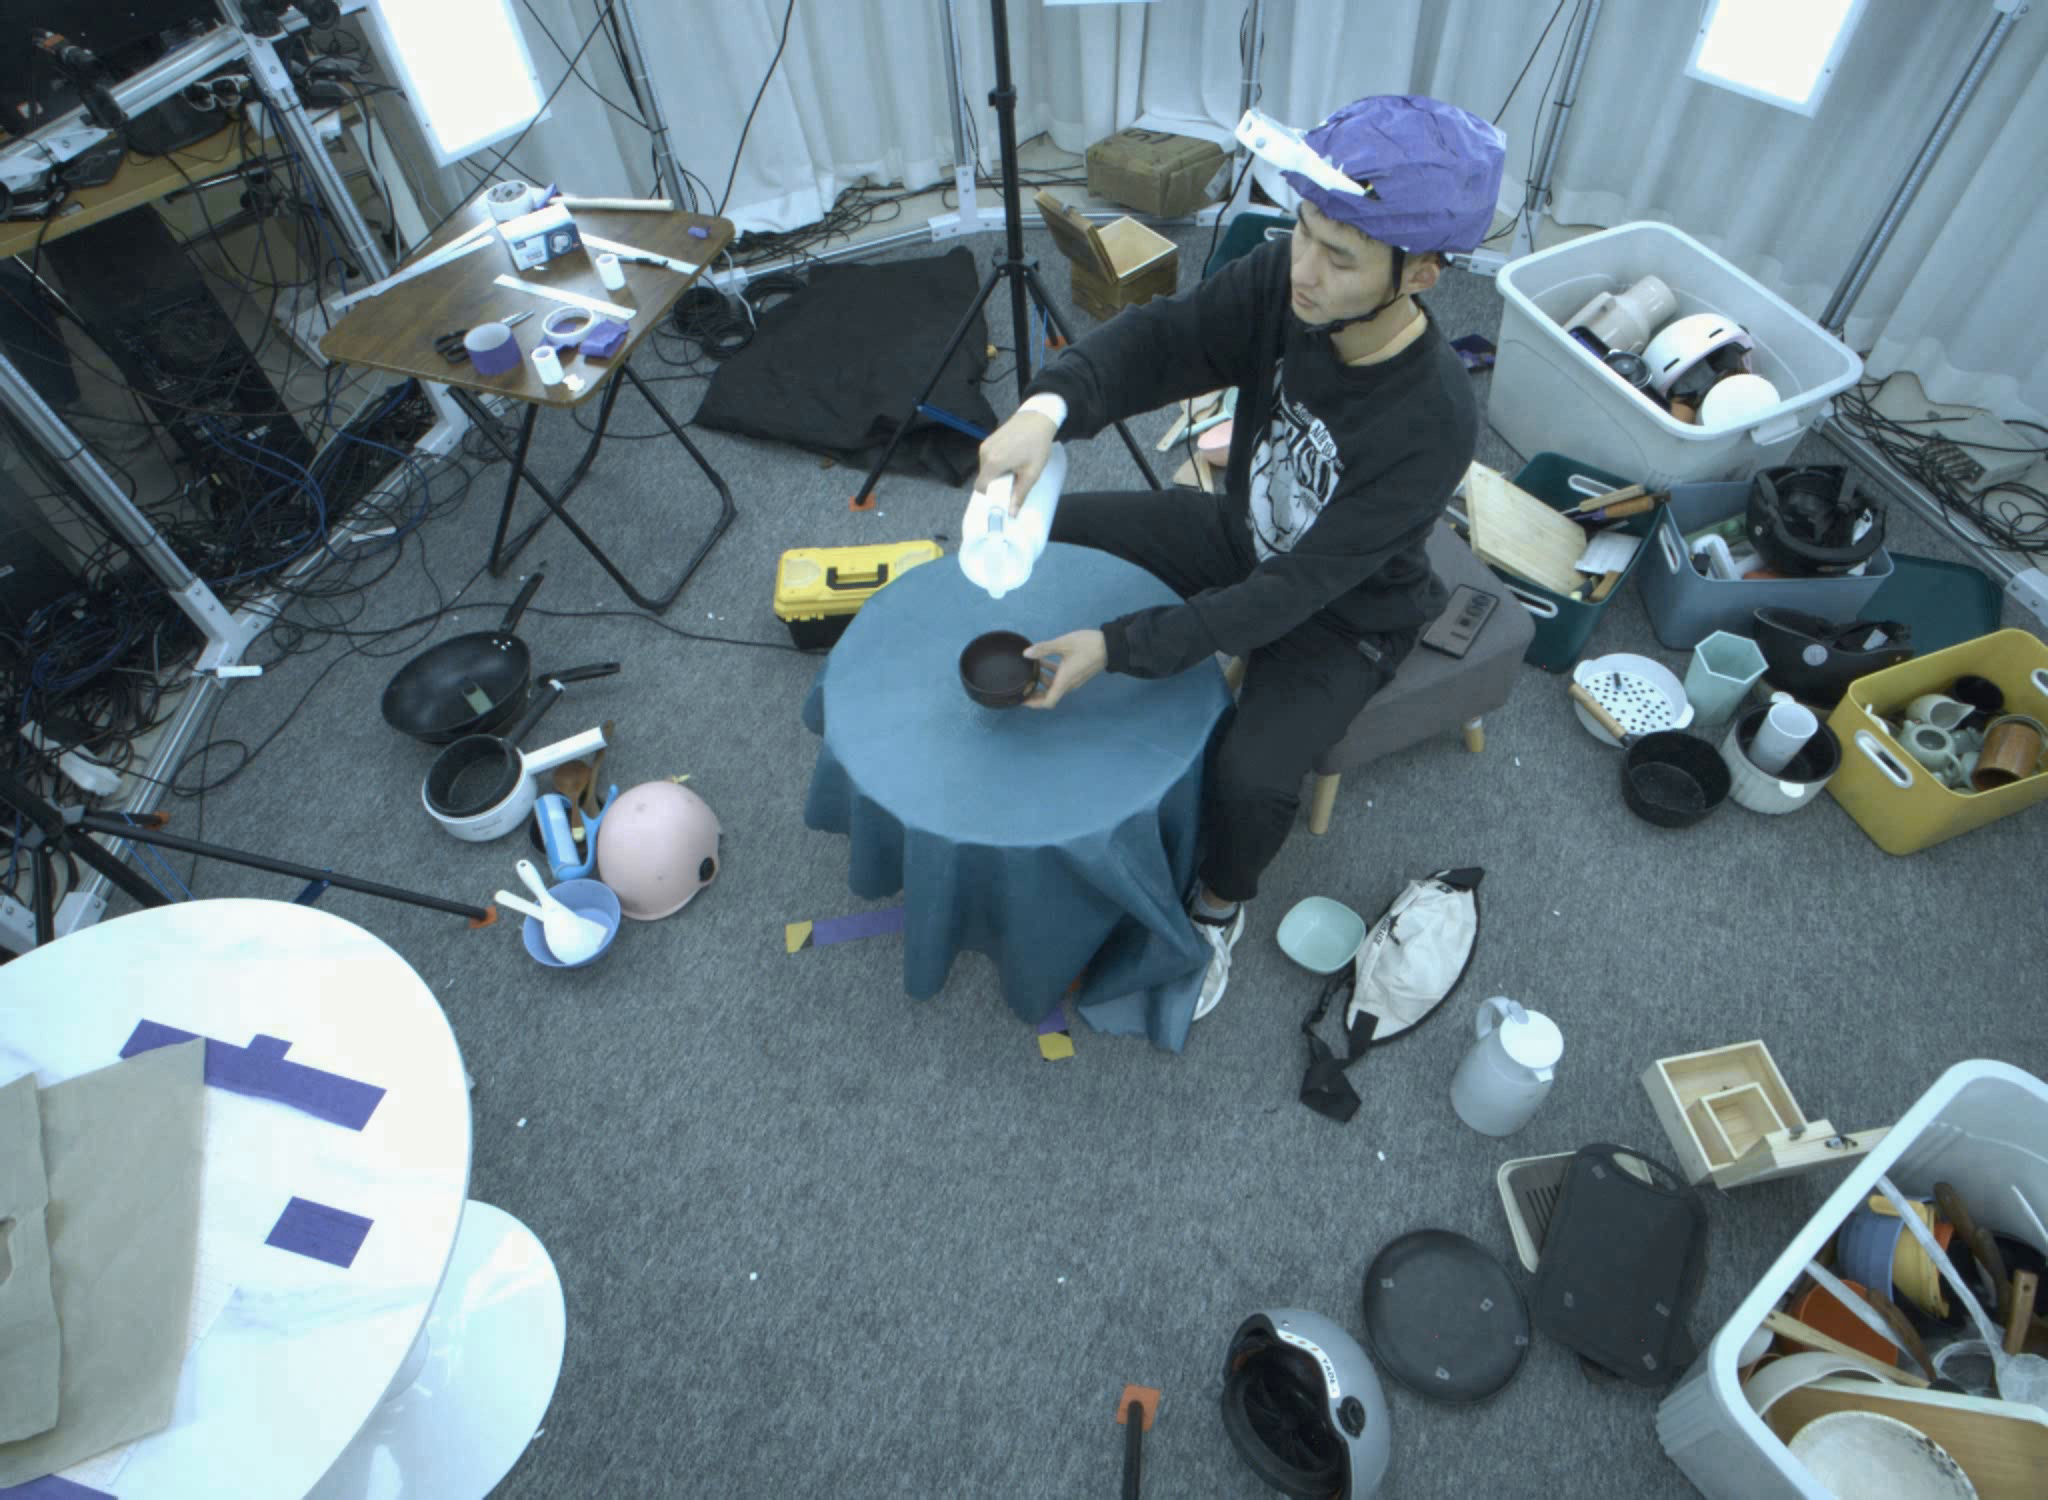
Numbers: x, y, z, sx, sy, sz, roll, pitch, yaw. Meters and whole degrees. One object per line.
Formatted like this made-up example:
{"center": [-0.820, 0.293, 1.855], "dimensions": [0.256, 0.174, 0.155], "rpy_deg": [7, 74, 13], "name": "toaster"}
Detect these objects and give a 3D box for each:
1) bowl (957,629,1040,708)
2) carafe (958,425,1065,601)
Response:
{"center": [-0.034, -0.110, 1.769], "dimensions": [0.118, 0.071, 0.117], "rpy_deg": [-2, 56, 4], "name": "bowl"}
{"center": [-0.019, -0.352, 1.682], "dimensions": [0.123, 0.174, 0.267], "rpy_deg": [8, 46, 8], "name": "carafe"}
